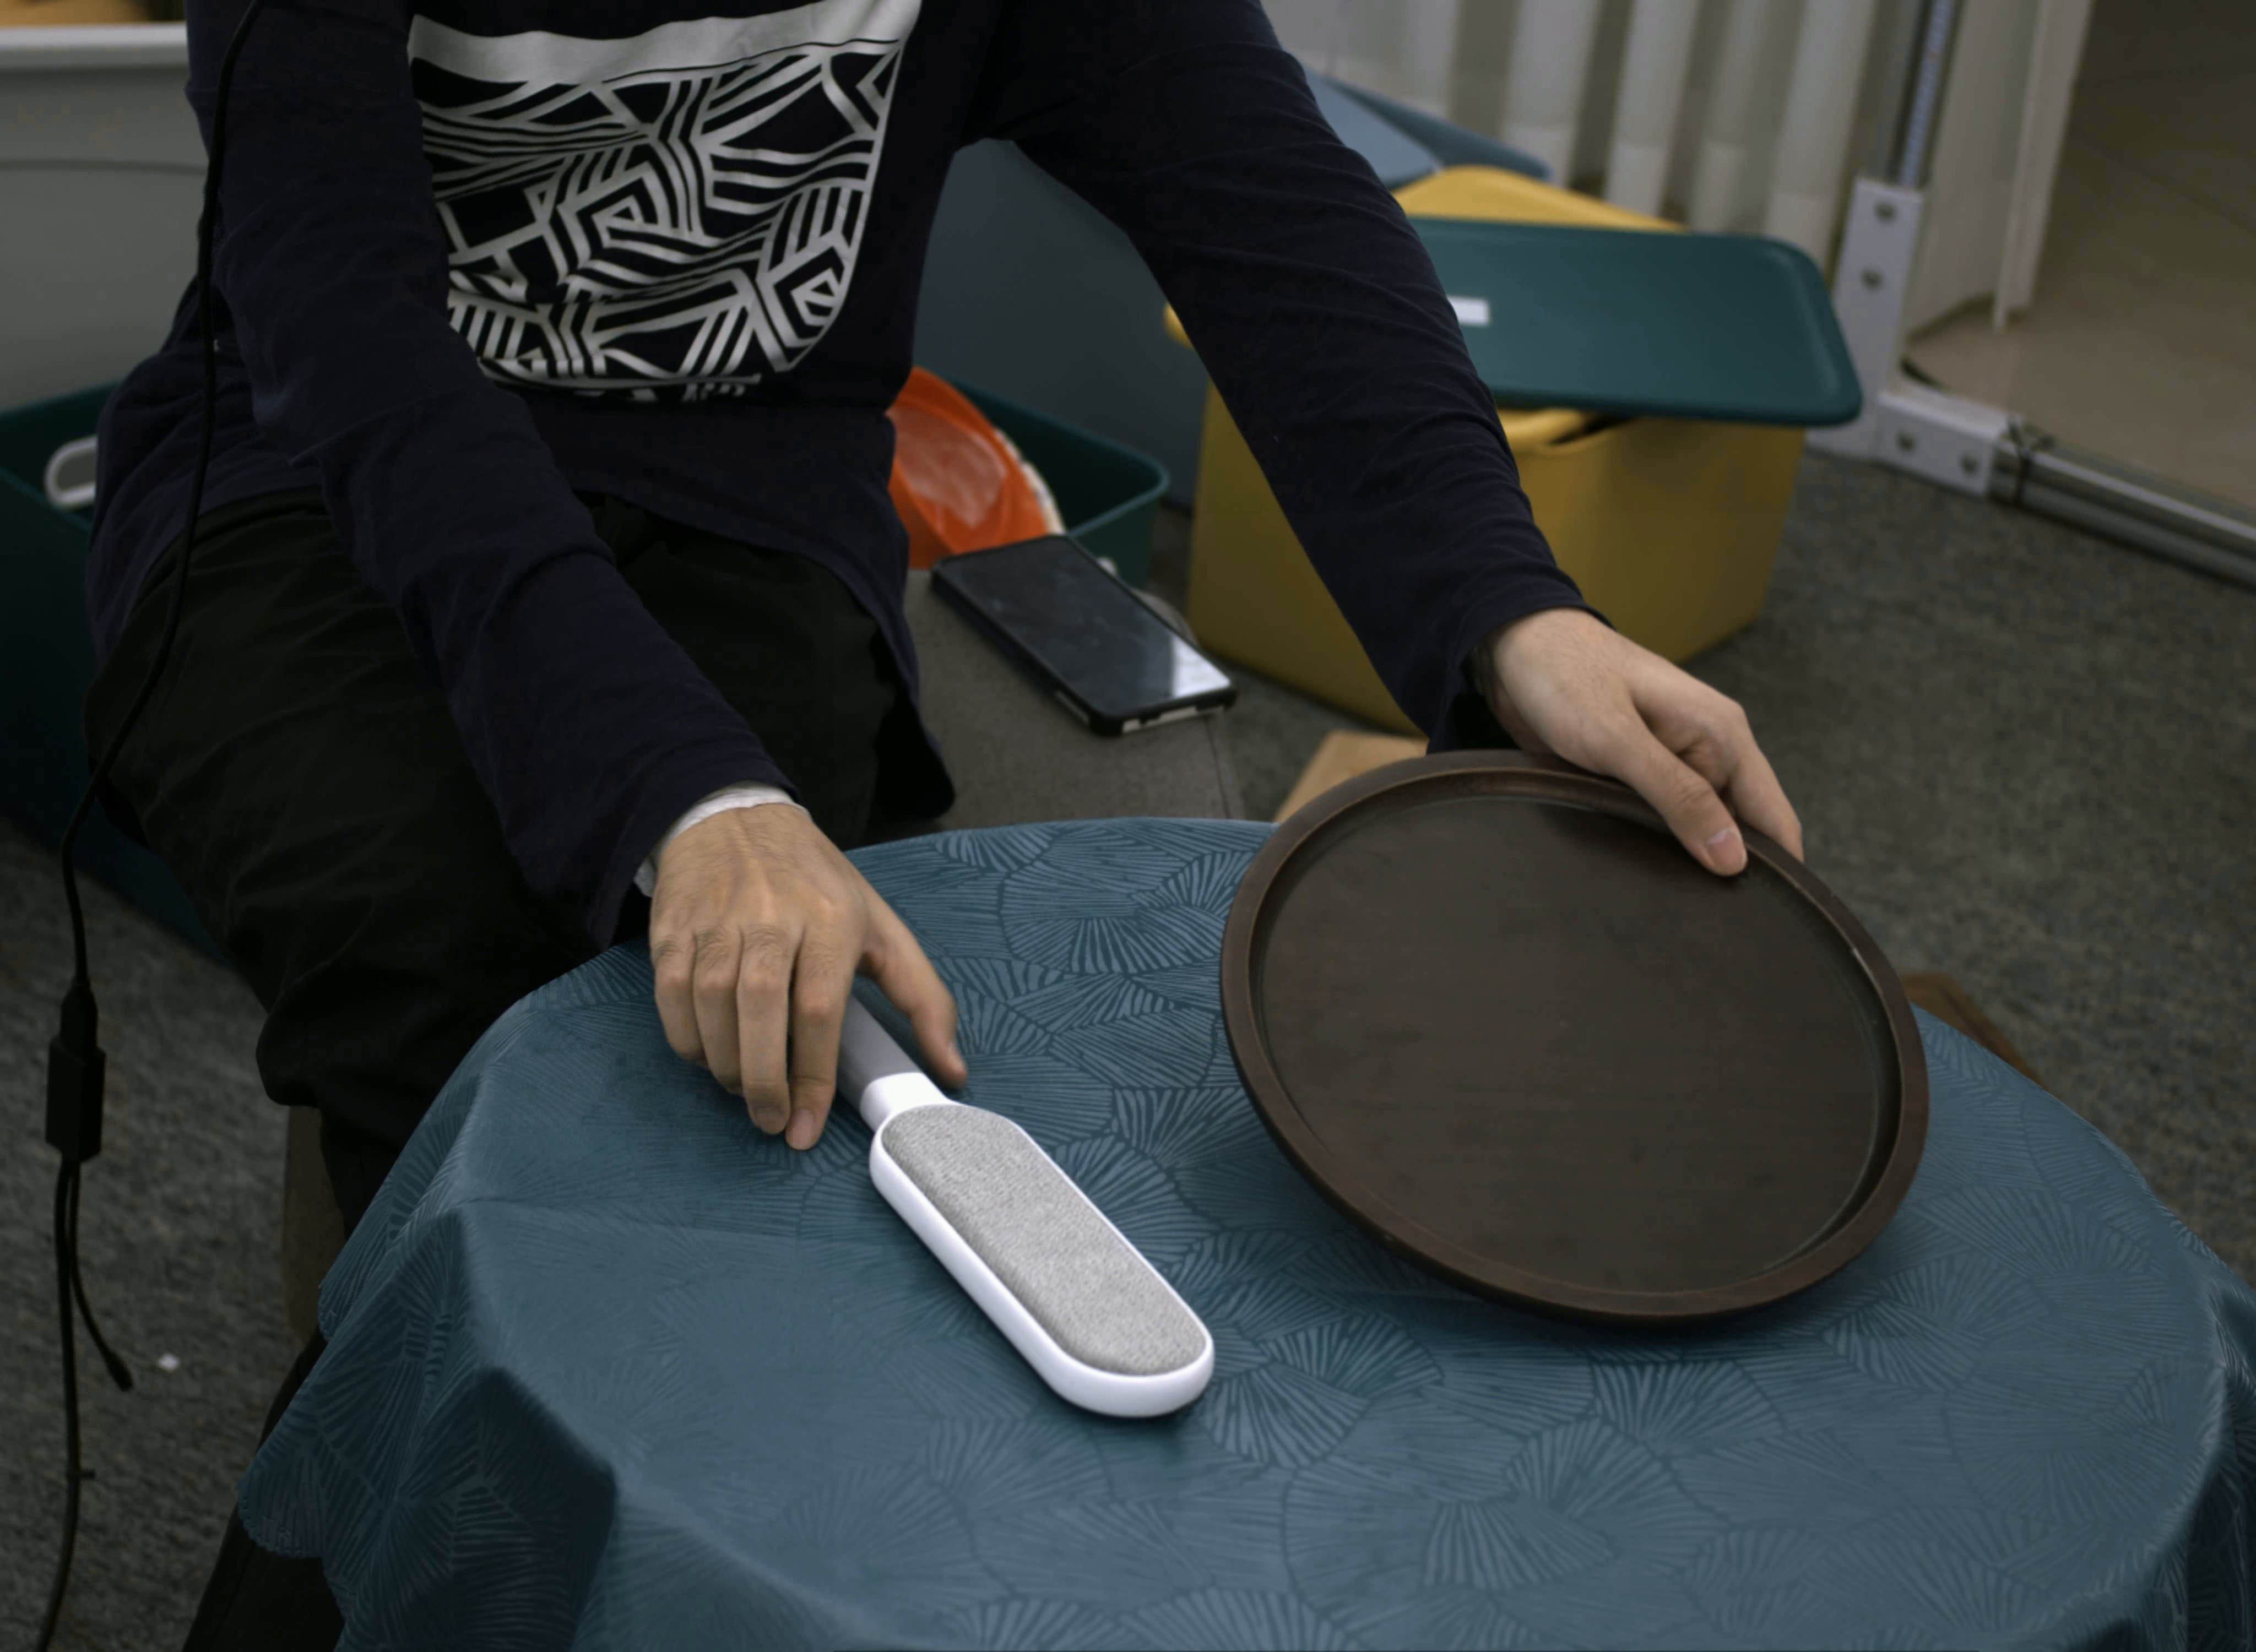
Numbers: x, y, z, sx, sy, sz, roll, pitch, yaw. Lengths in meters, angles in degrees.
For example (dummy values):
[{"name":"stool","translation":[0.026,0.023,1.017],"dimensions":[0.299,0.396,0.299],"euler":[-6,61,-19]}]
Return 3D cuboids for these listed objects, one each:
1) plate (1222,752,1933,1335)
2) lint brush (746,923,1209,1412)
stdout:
[{"name":"plate","translation":[0.153,0.073,1.829],"dimensions":[0.253,0.029,0.257],"euler":[9,45,-10]},{"name":"lint brush","translation":[-0.058,0.109,1.790],"dimensions":[0.060,0.021,0.312],"euler":[-13,32,-24]}]
